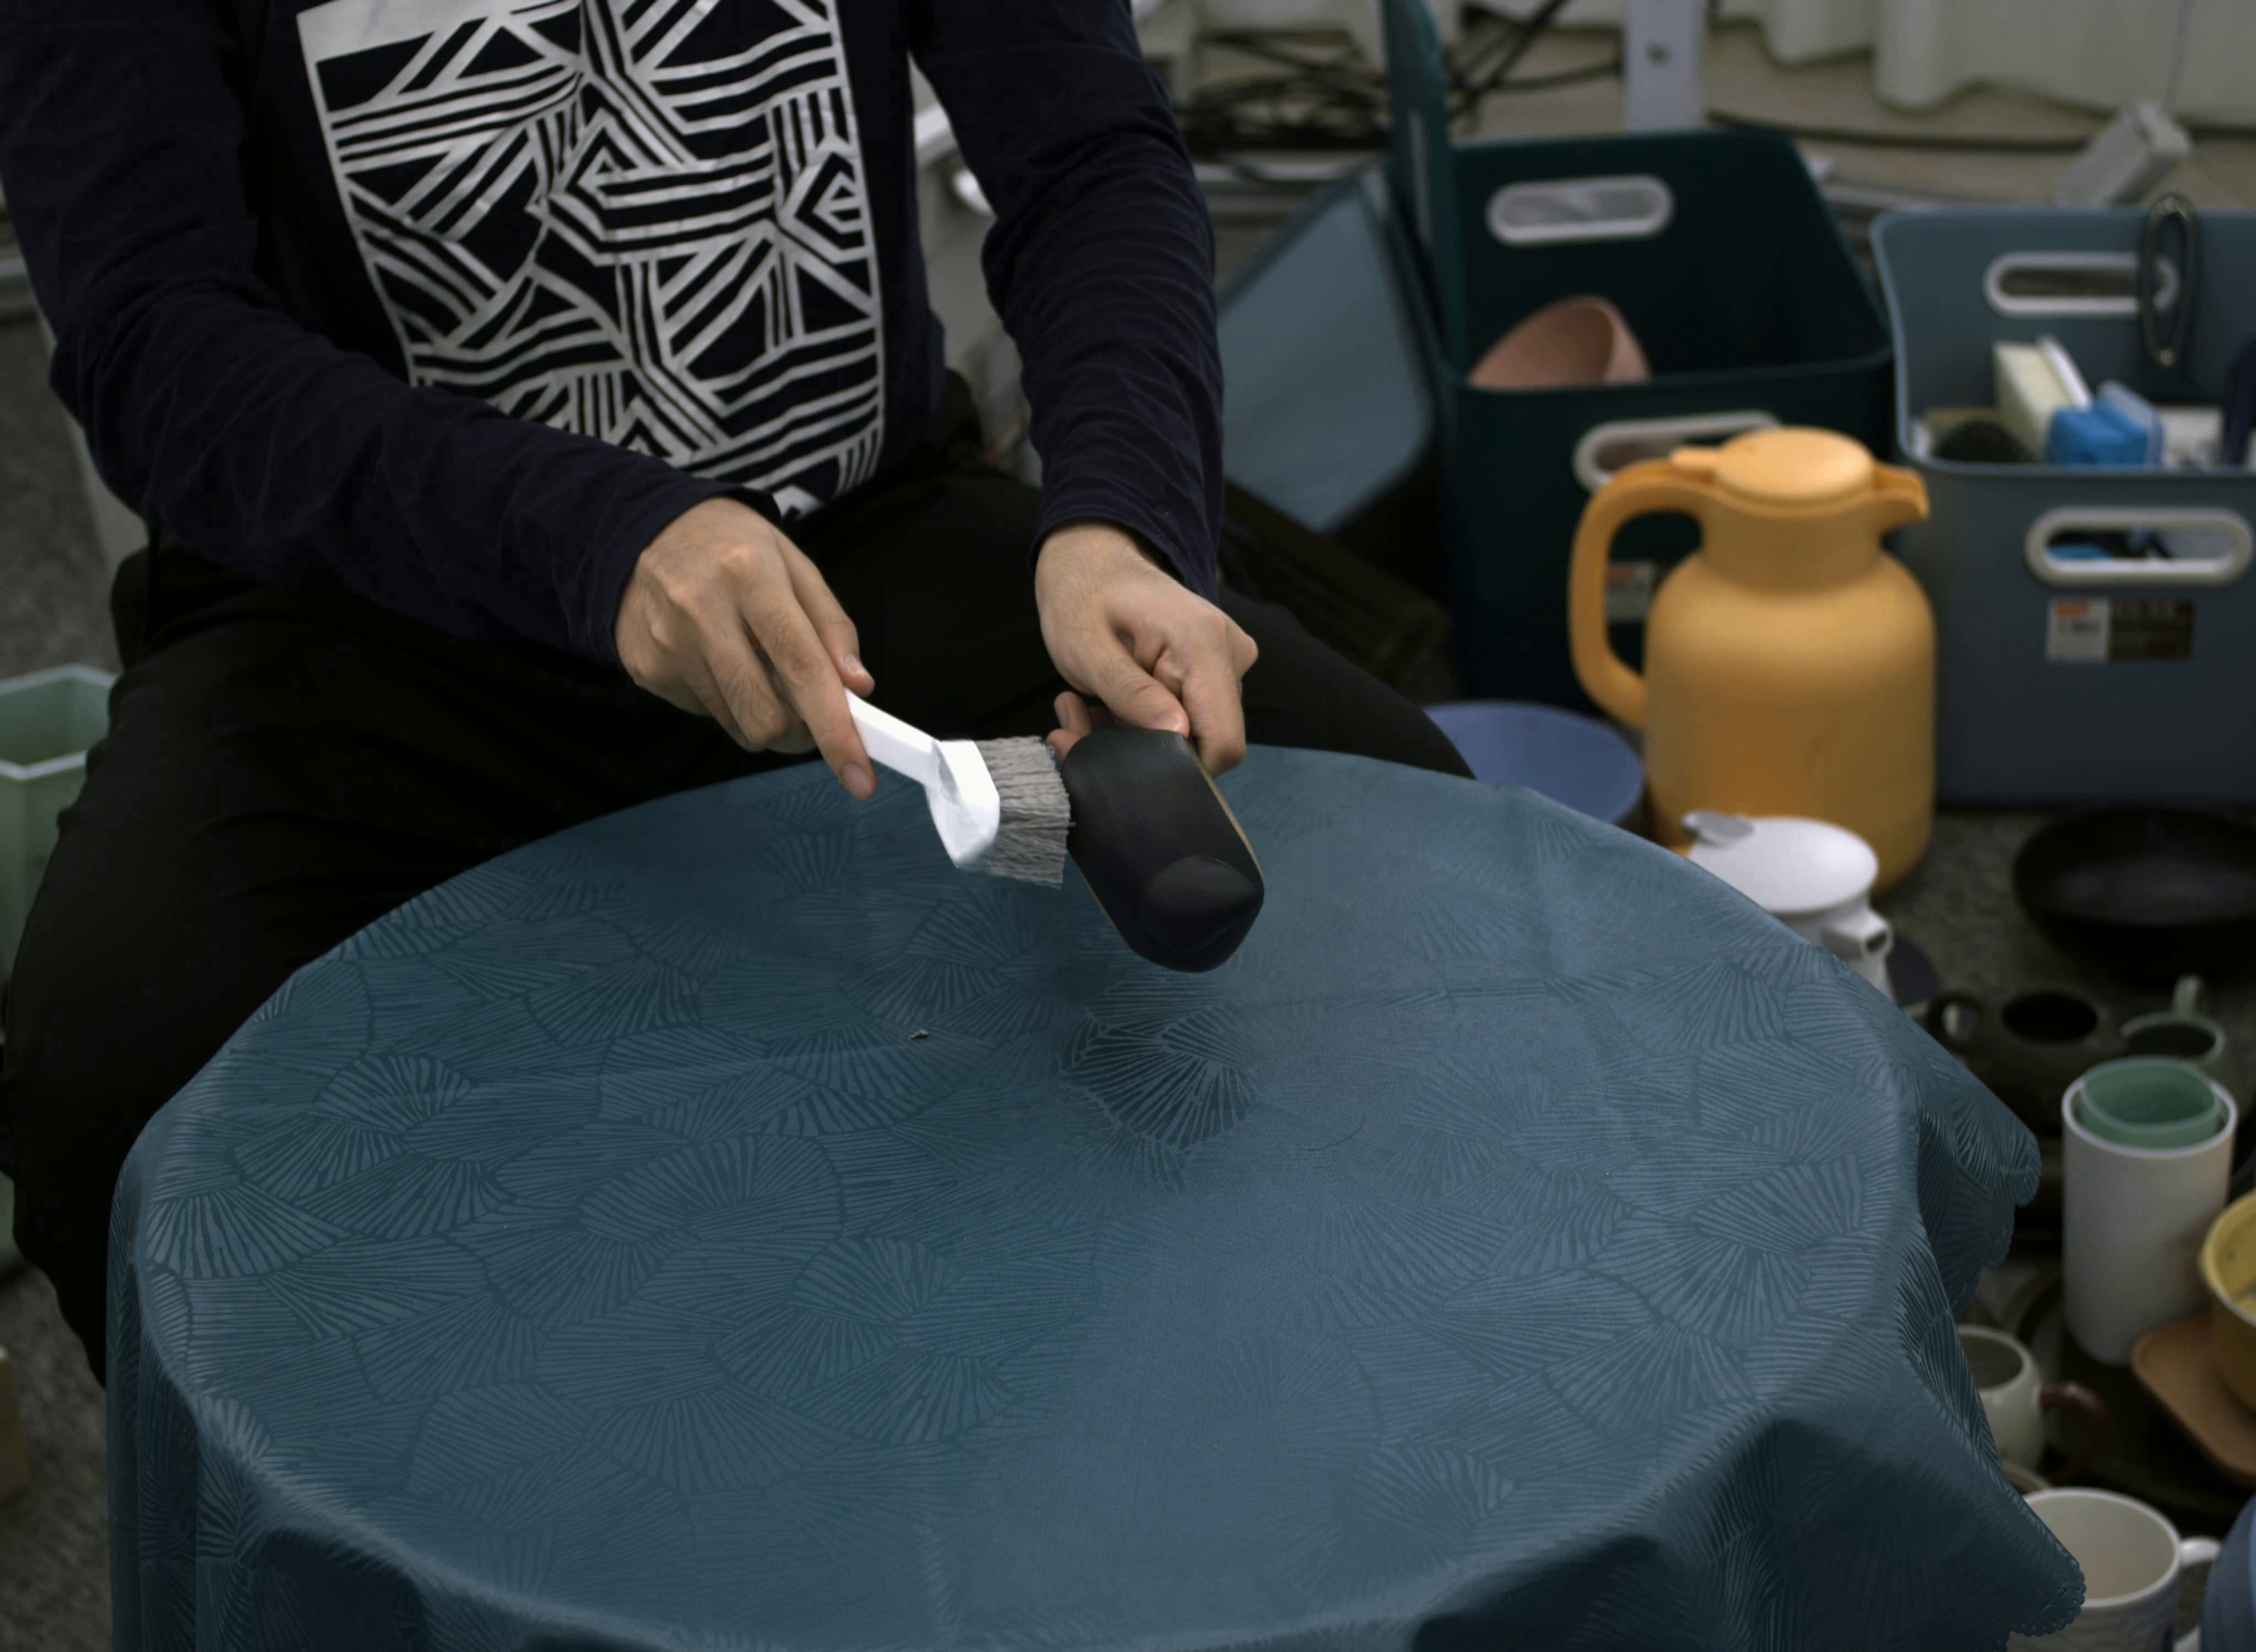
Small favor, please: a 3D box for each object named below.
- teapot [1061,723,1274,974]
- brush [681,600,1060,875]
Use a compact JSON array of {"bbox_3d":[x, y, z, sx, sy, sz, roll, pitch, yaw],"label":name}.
[{"bbox_3d":[0.012,0.006,1.909,0.053,0.090,0.135,-28,31,3],"label":"teapot"},{"bbox_3d":[-0.089,-0.037,1.977,0.050,0.034,0.244,-10,24,-27],"label":"brush"}]
